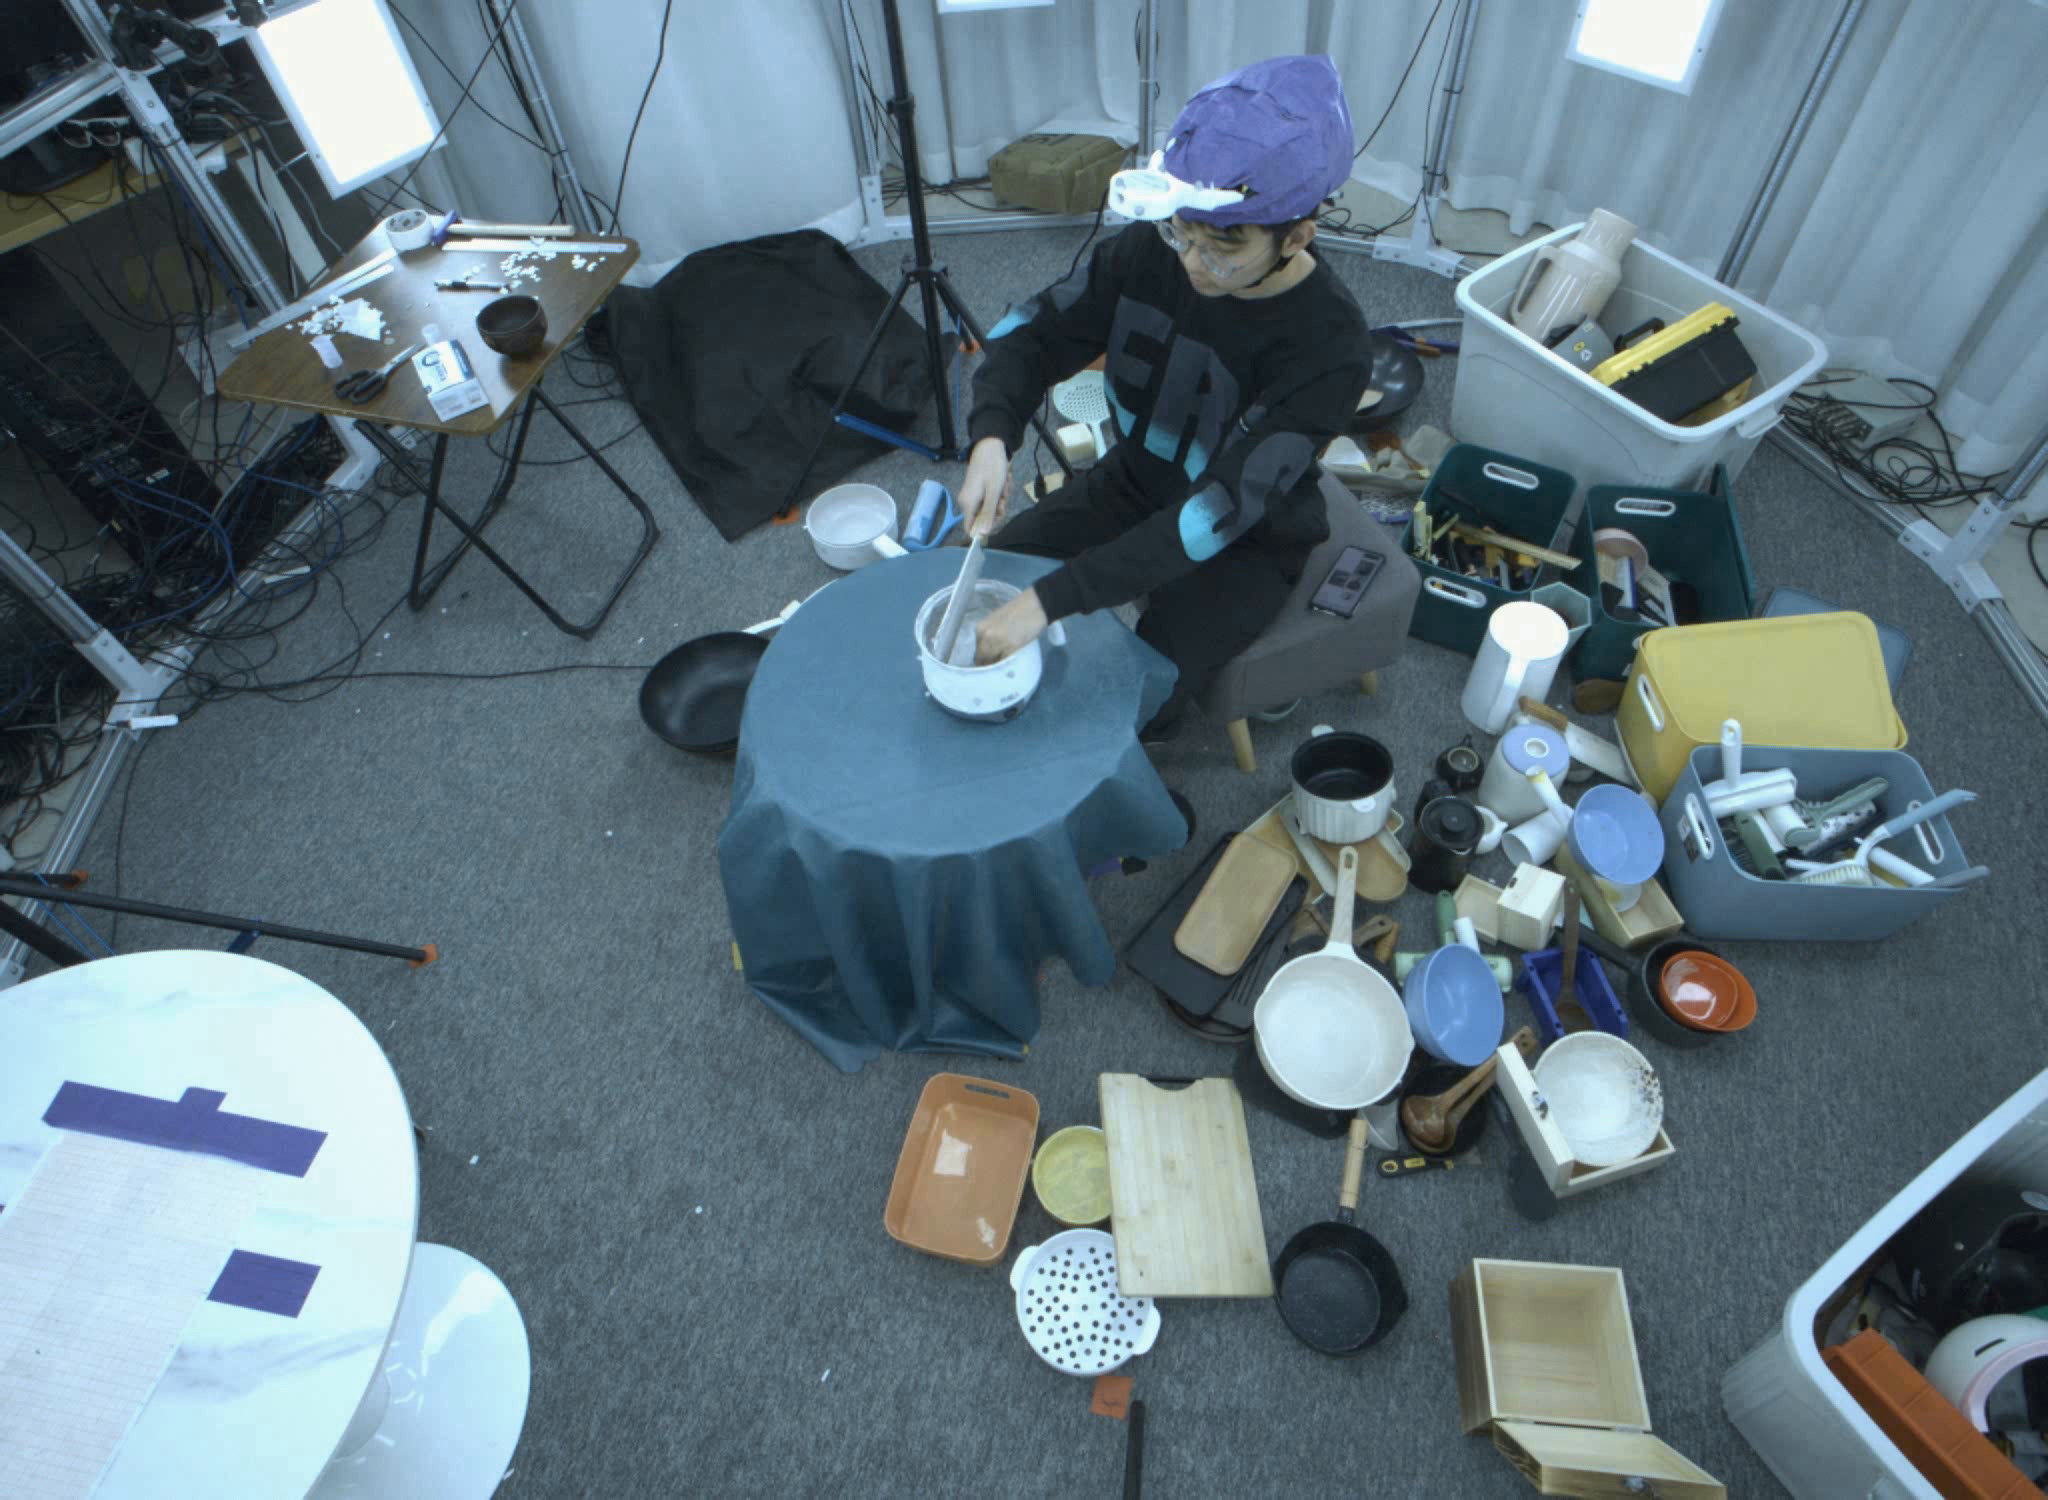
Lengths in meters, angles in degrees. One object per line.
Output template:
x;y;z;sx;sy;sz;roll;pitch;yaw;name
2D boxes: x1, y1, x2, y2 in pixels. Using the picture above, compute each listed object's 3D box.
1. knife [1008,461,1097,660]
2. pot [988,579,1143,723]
0.037;-0.269;1.746;0.021;0.115;0.315;20;83;13;knife
0.066;-0.154;1.809;0.235;0.138;0.175;-24;57;-13;pot
